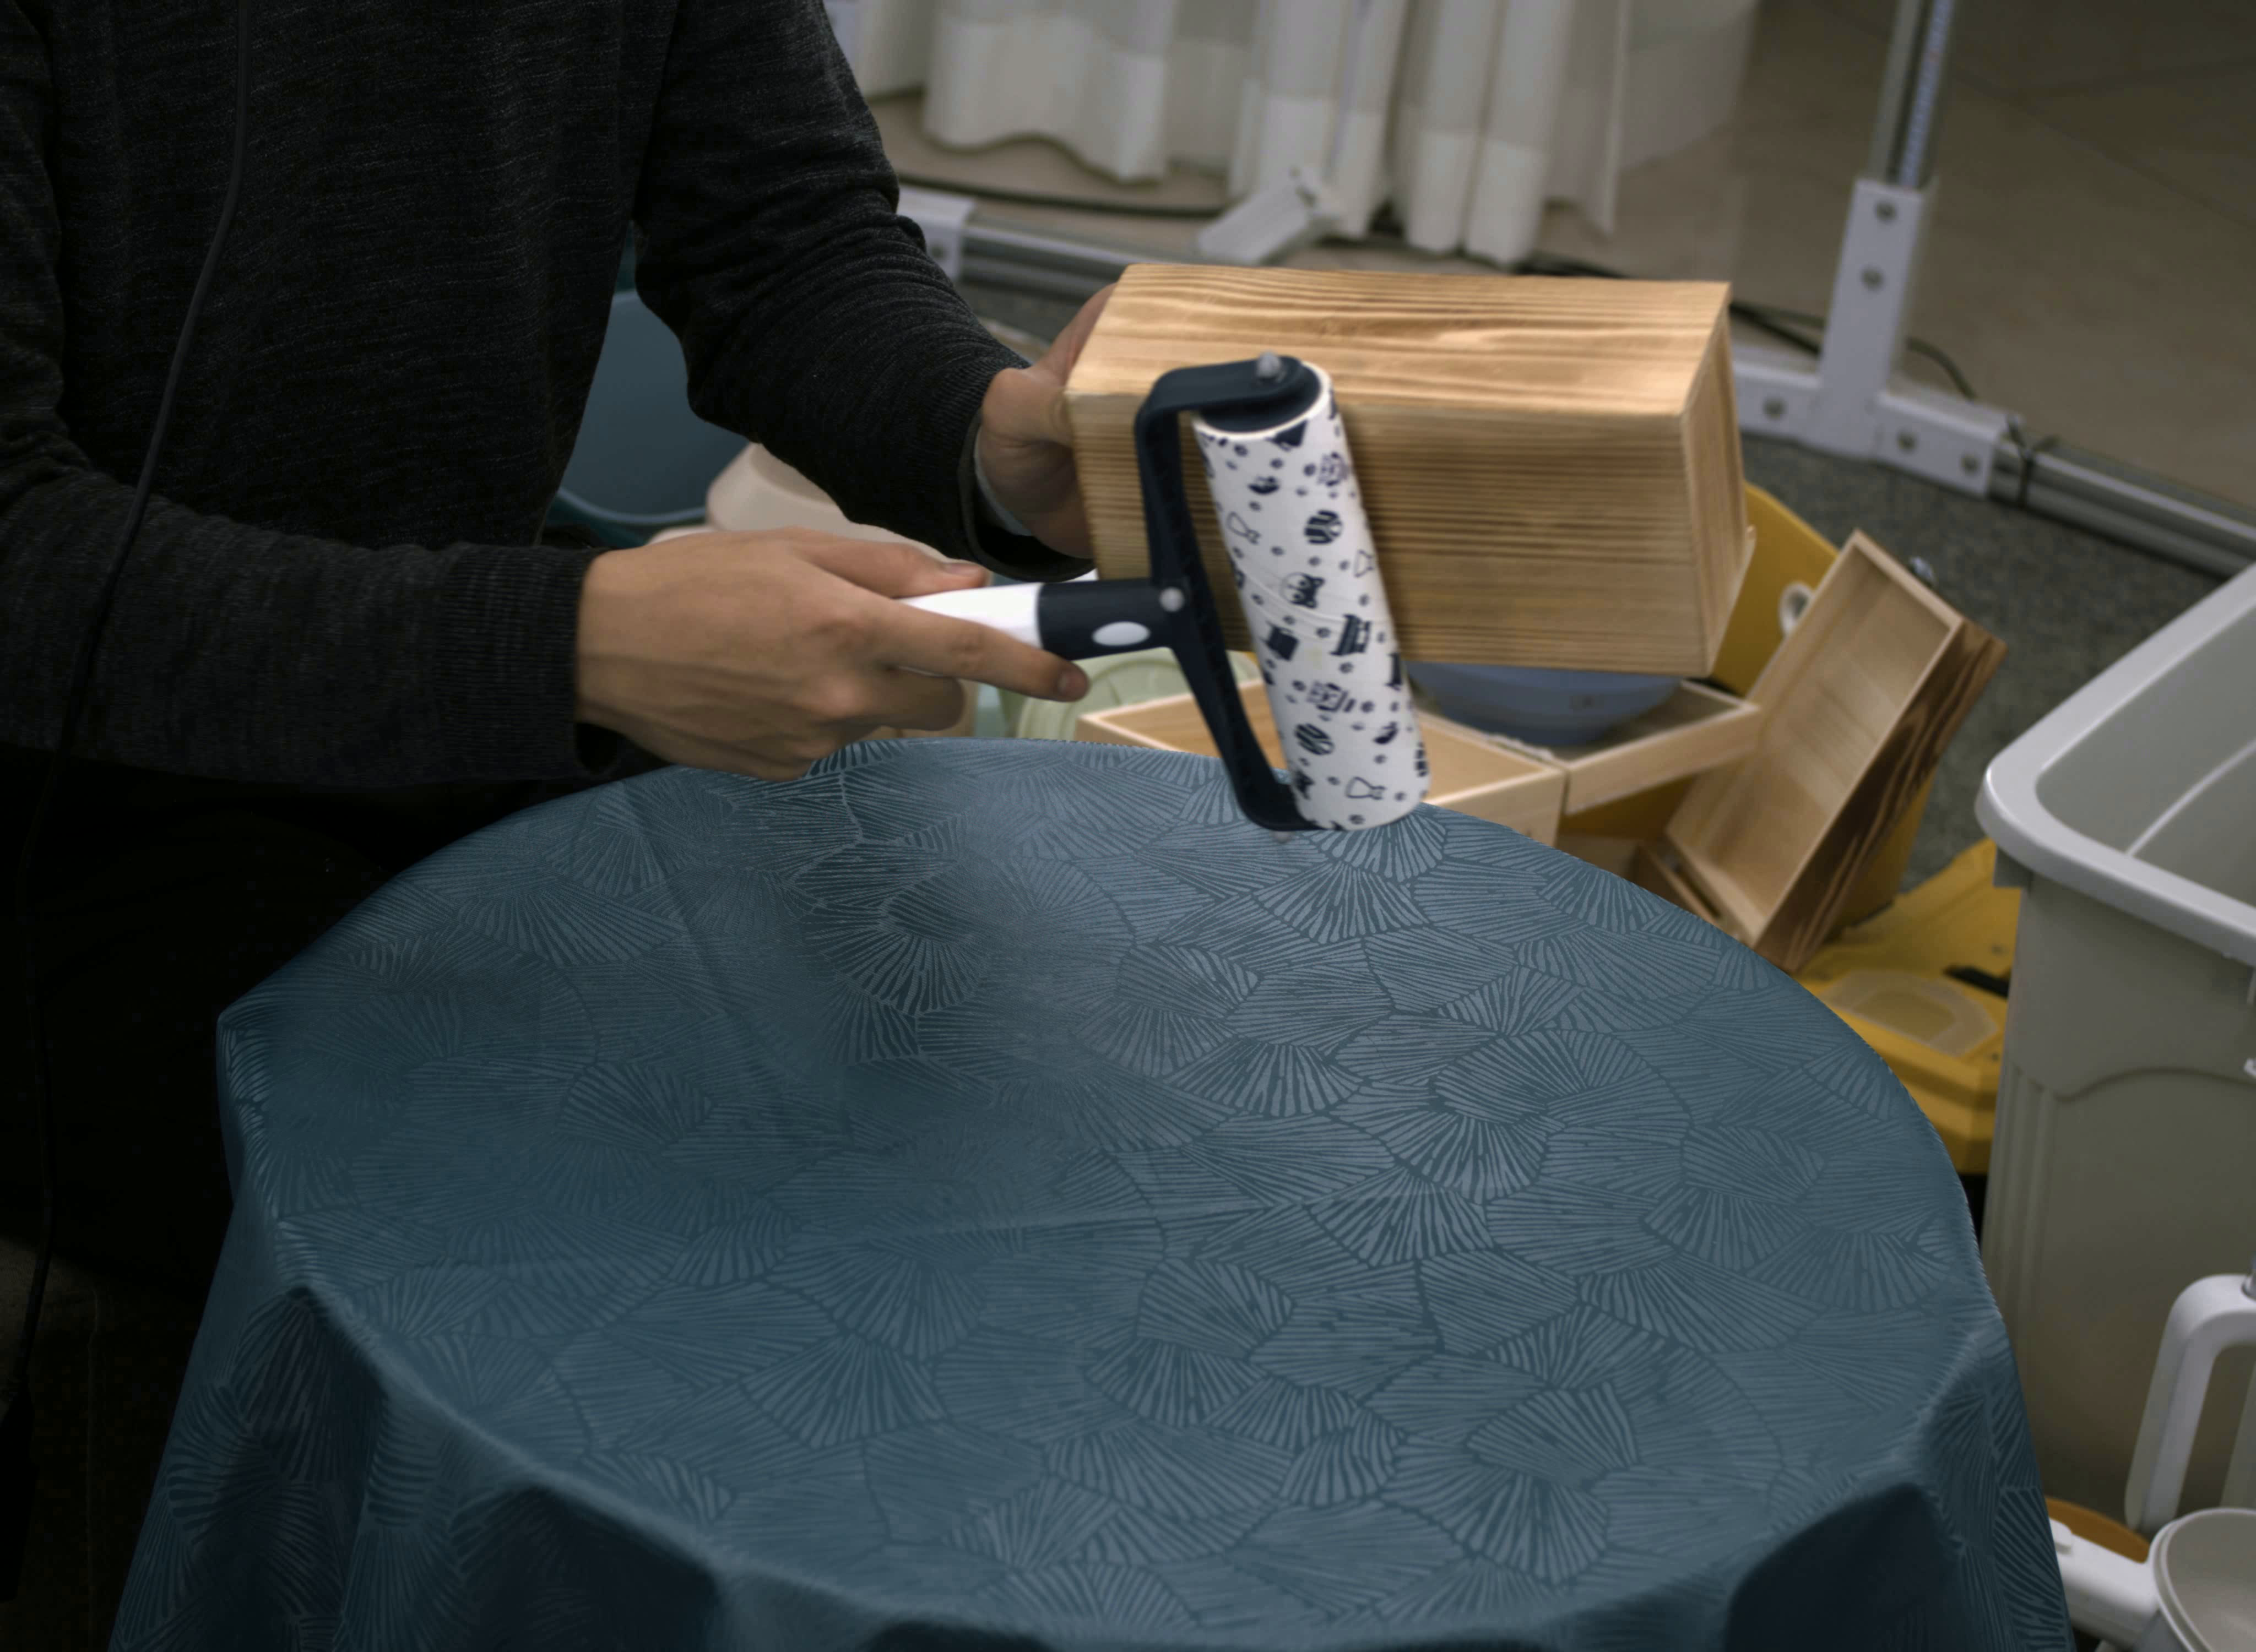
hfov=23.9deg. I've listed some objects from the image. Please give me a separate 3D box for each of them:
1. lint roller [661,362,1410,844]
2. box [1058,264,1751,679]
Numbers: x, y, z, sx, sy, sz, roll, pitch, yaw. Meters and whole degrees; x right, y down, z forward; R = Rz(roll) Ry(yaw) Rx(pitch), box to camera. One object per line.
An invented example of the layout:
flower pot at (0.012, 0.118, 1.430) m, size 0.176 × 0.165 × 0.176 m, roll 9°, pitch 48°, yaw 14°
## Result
lint roller at (-0.040, -0.060, 1.779) m, size 0.247 × 0.175 × 0.050 m, roll -7°, pitch 33°, yaw 14°
box at (0.094, -0.120, 1.786) m, size 0.212 × 0.107 × 0.080 m, roll 4°, pitch 39°, yaw 20°
